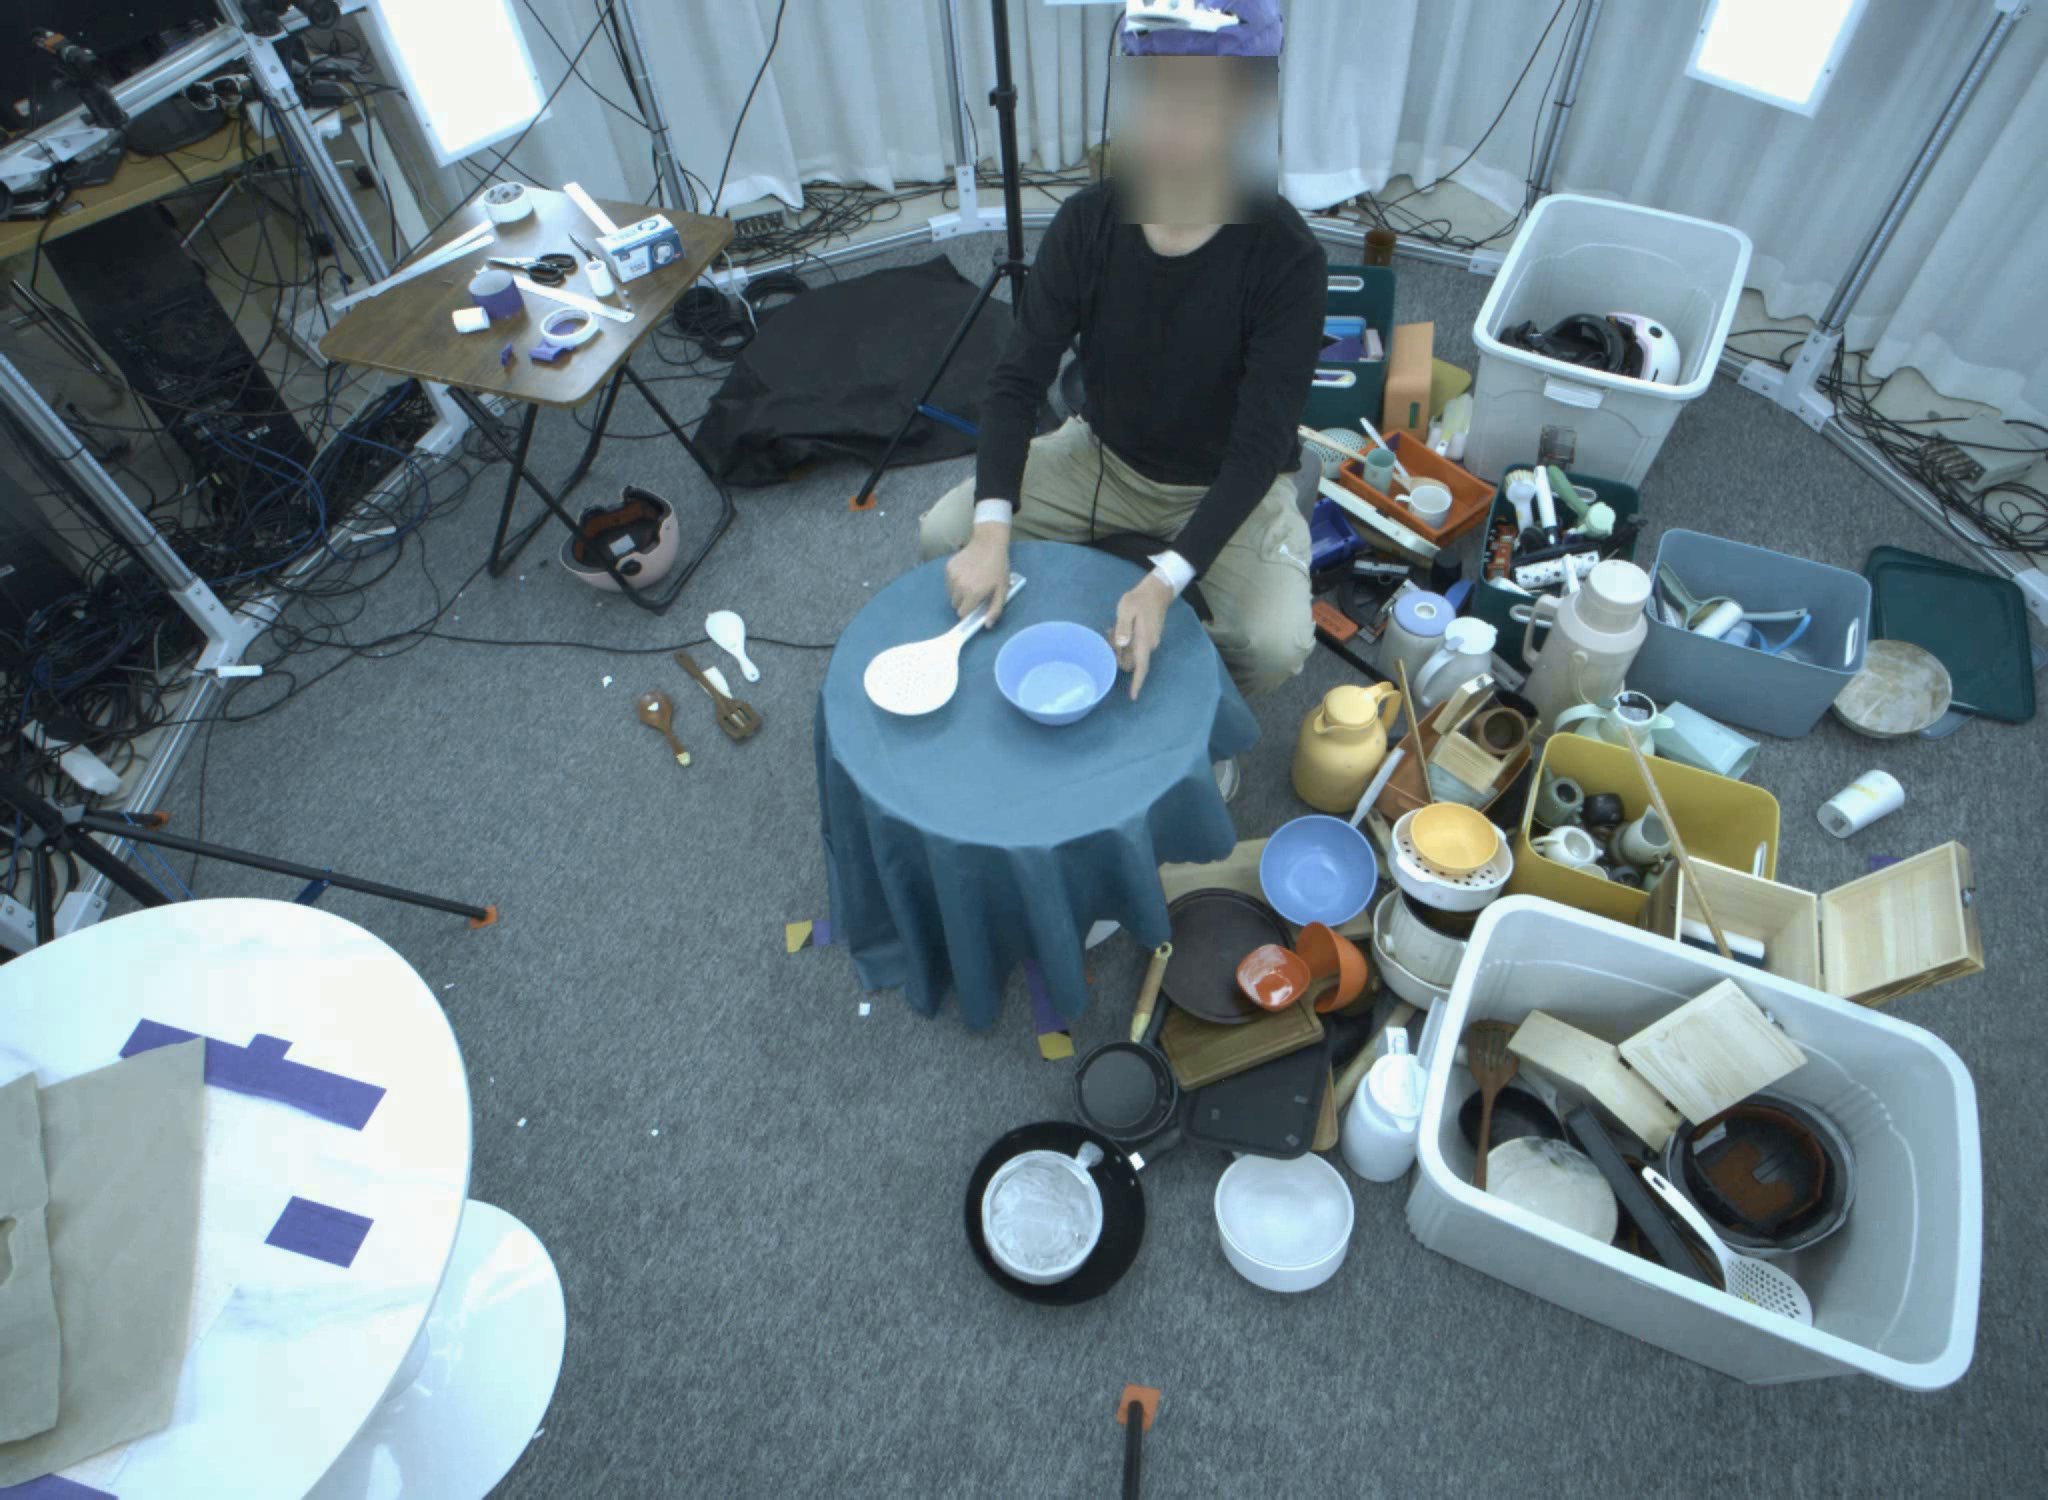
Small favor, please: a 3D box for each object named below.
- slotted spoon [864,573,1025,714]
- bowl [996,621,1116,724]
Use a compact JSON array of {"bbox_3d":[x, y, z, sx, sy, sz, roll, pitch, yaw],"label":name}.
[{"bbox_3d":[-0.108,-0.169,1.883,0.134,0.046,0.351,29,60,19],"label":"slotted spoon"},{"bbox_3d":[0.048,-0.104,1.816,0.176,0.071,0.174,0,54,1],"label":"bowl"}]
